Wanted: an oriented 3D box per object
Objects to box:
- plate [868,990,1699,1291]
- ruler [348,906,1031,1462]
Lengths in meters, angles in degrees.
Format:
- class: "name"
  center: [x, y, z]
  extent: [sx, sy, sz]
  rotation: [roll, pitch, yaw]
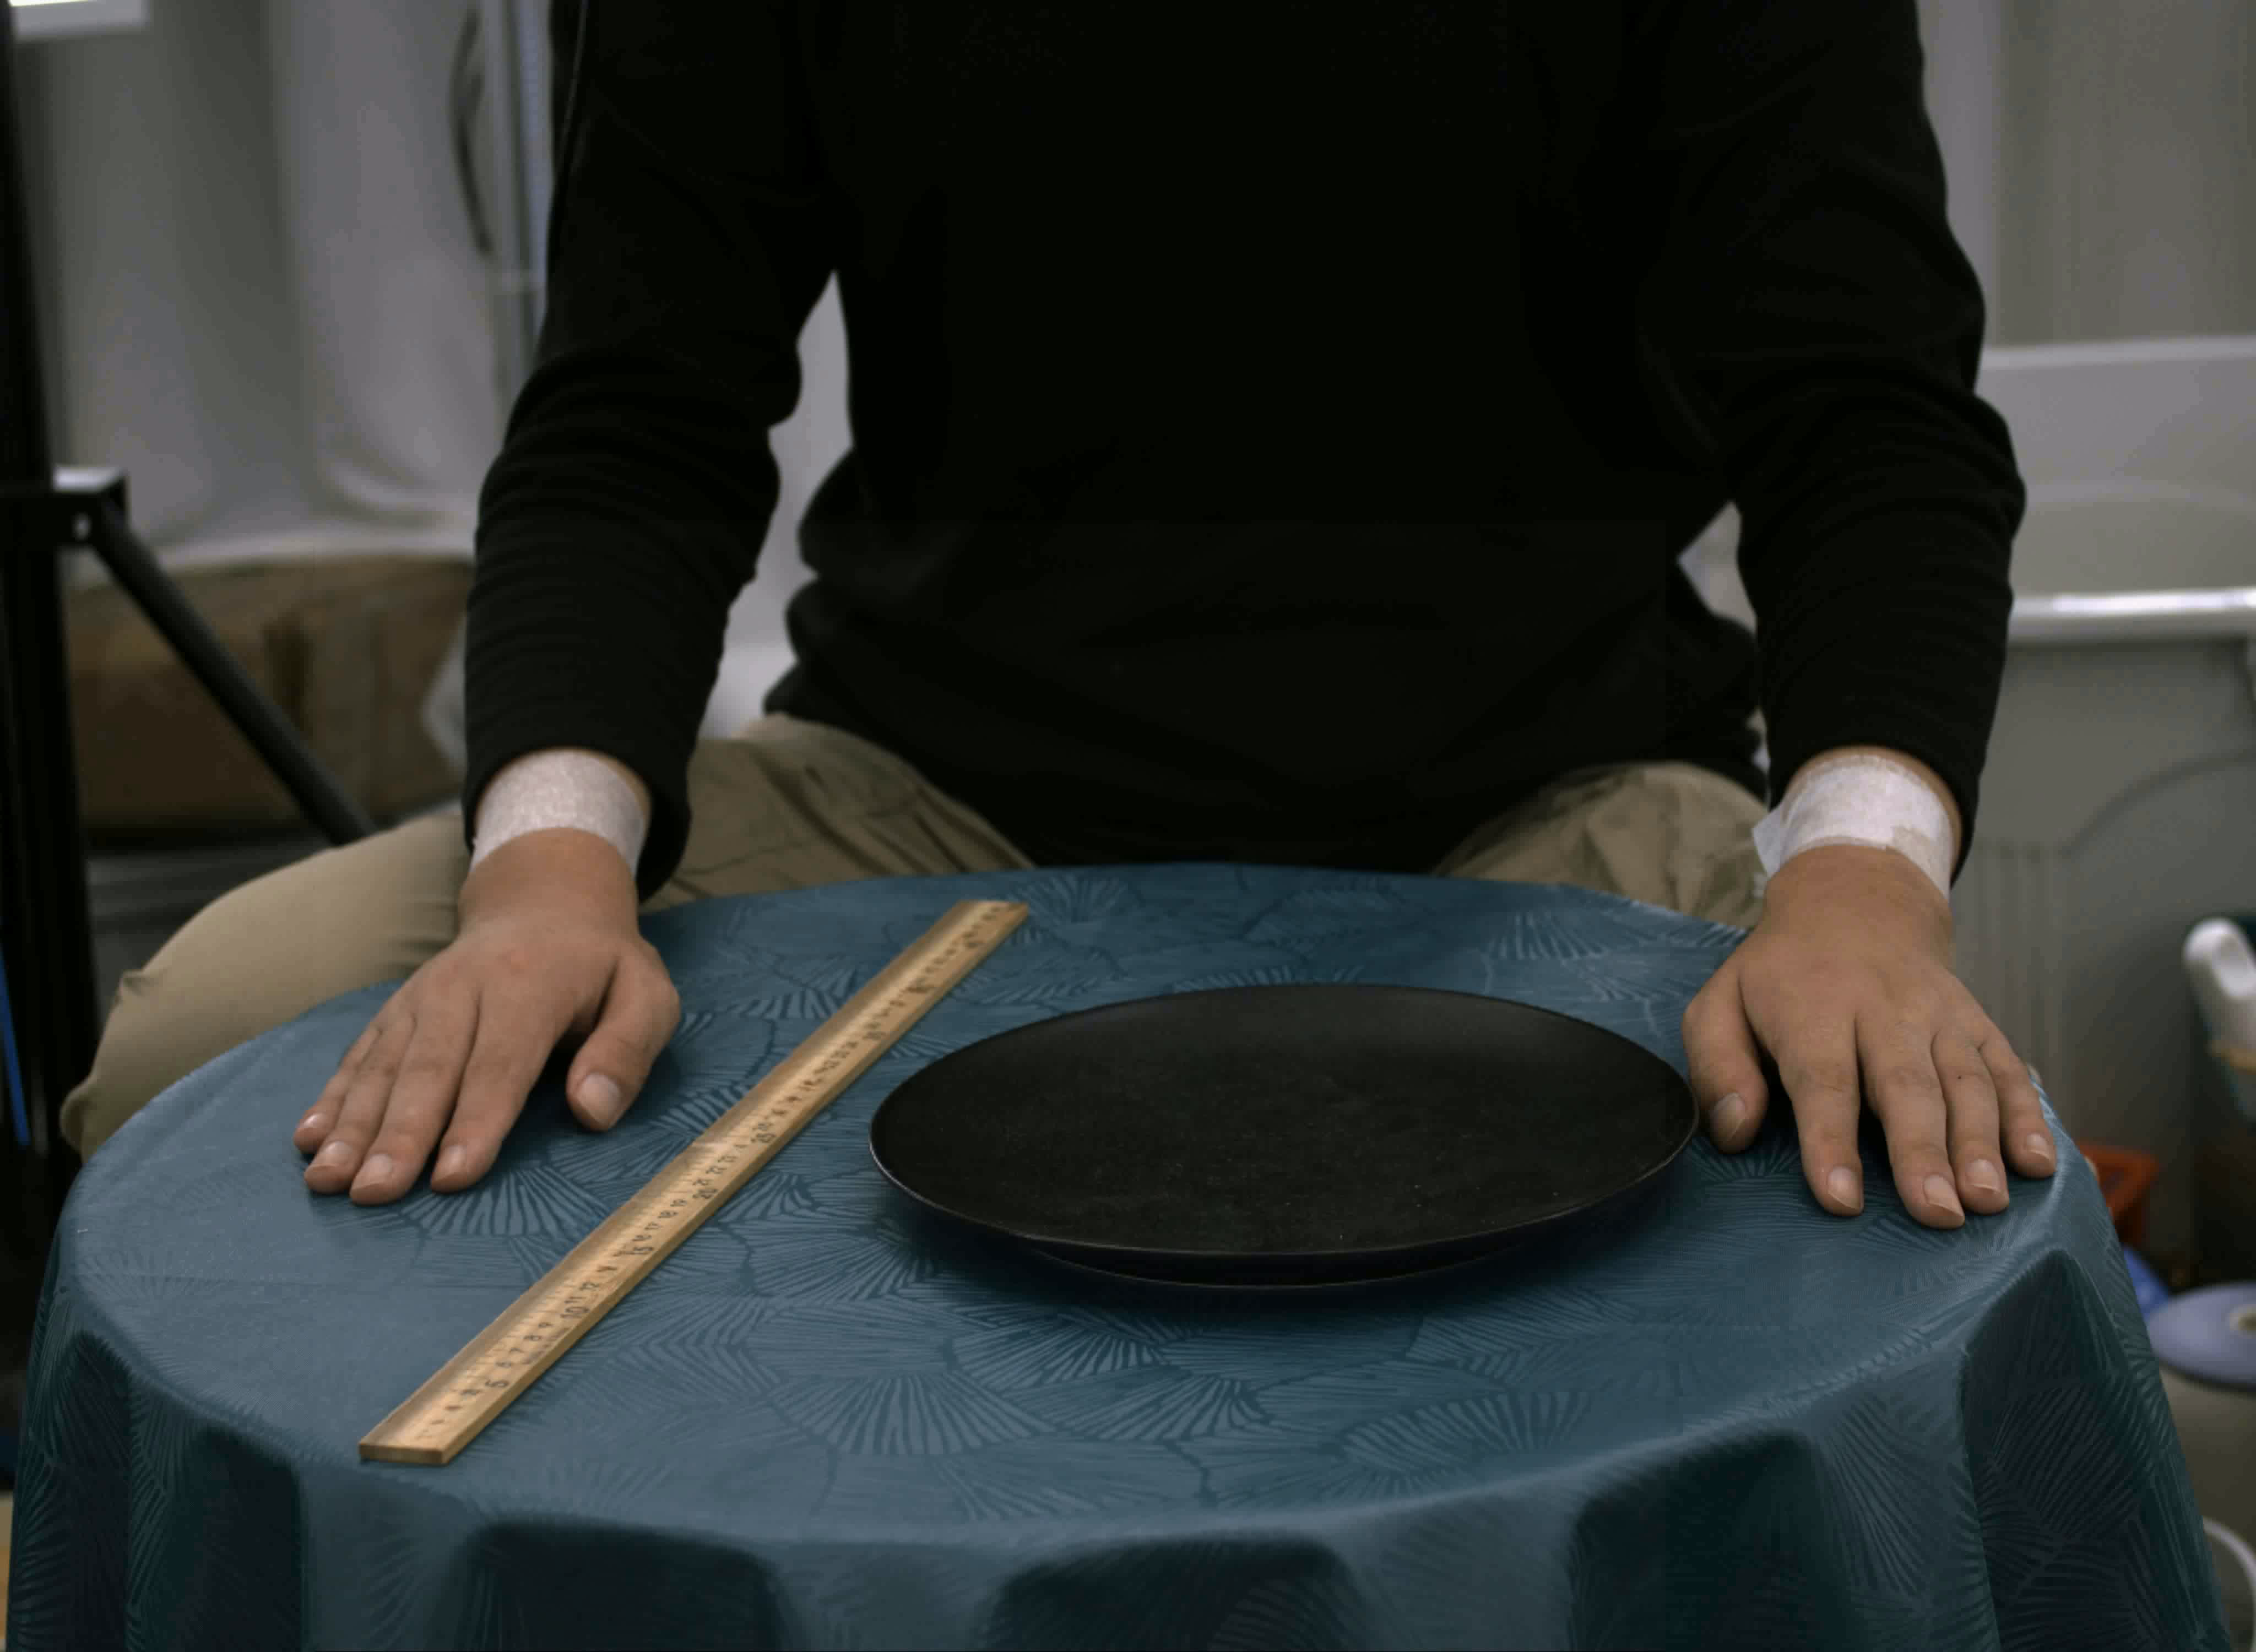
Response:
- class: "plate"
  center: [0.046, 0.094, 1.556]
  extent: [0.243, 0.023, 0.245]
  rotation: [-3, 16, -1]
- class: "ruler"
  center: [-0.117, 0.096, 1.609]
  extent: [0.027, 0.006, 0.495]
  rotation: [4, 17, 17]
